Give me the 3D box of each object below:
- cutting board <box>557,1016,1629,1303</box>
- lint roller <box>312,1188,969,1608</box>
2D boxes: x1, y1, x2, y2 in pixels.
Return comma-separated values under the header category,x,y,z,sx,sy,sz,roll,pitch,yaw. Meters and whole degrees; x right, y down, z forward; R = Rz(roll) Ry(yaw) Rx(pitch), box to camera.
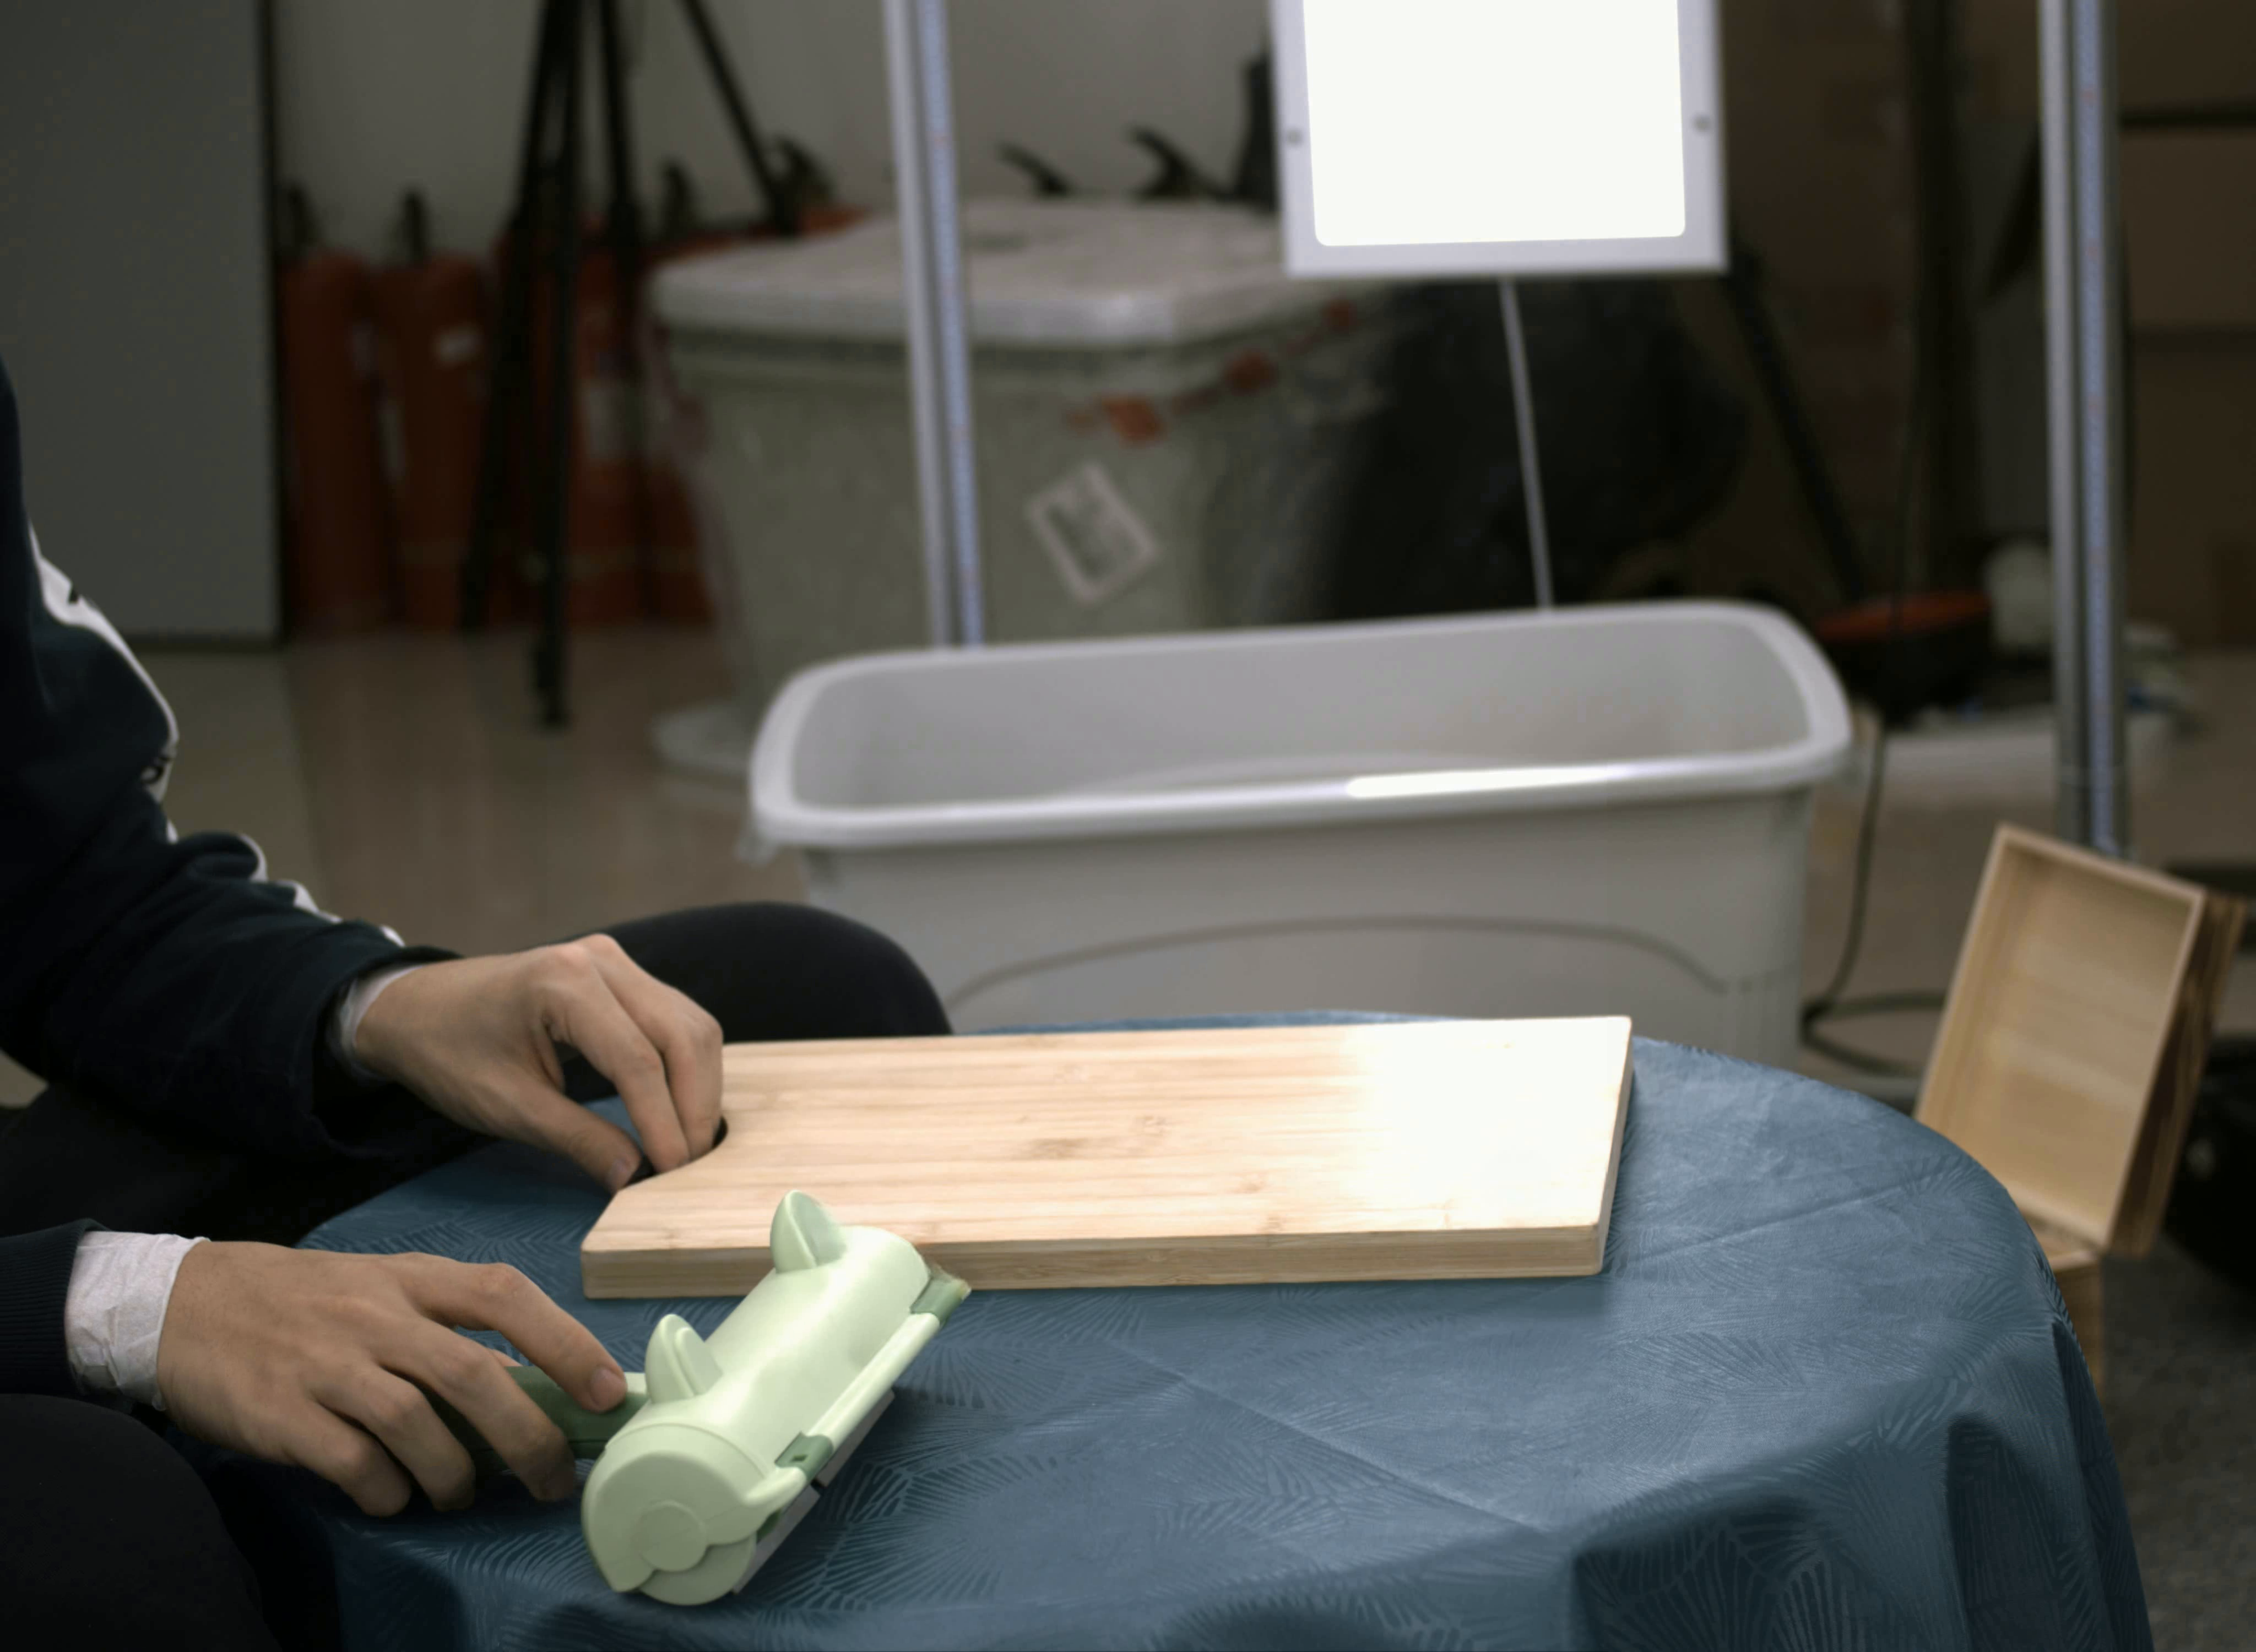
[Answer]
category,x,y,z,sx,sy,sz,roll,pitch,yaw
cutting board,-0.003,0.115,1.912,0.350,0.023,0.248,-3,14,10
lint roller,-0.159,0.162,1.648,0.185,0.082,0.195,3,16,16
